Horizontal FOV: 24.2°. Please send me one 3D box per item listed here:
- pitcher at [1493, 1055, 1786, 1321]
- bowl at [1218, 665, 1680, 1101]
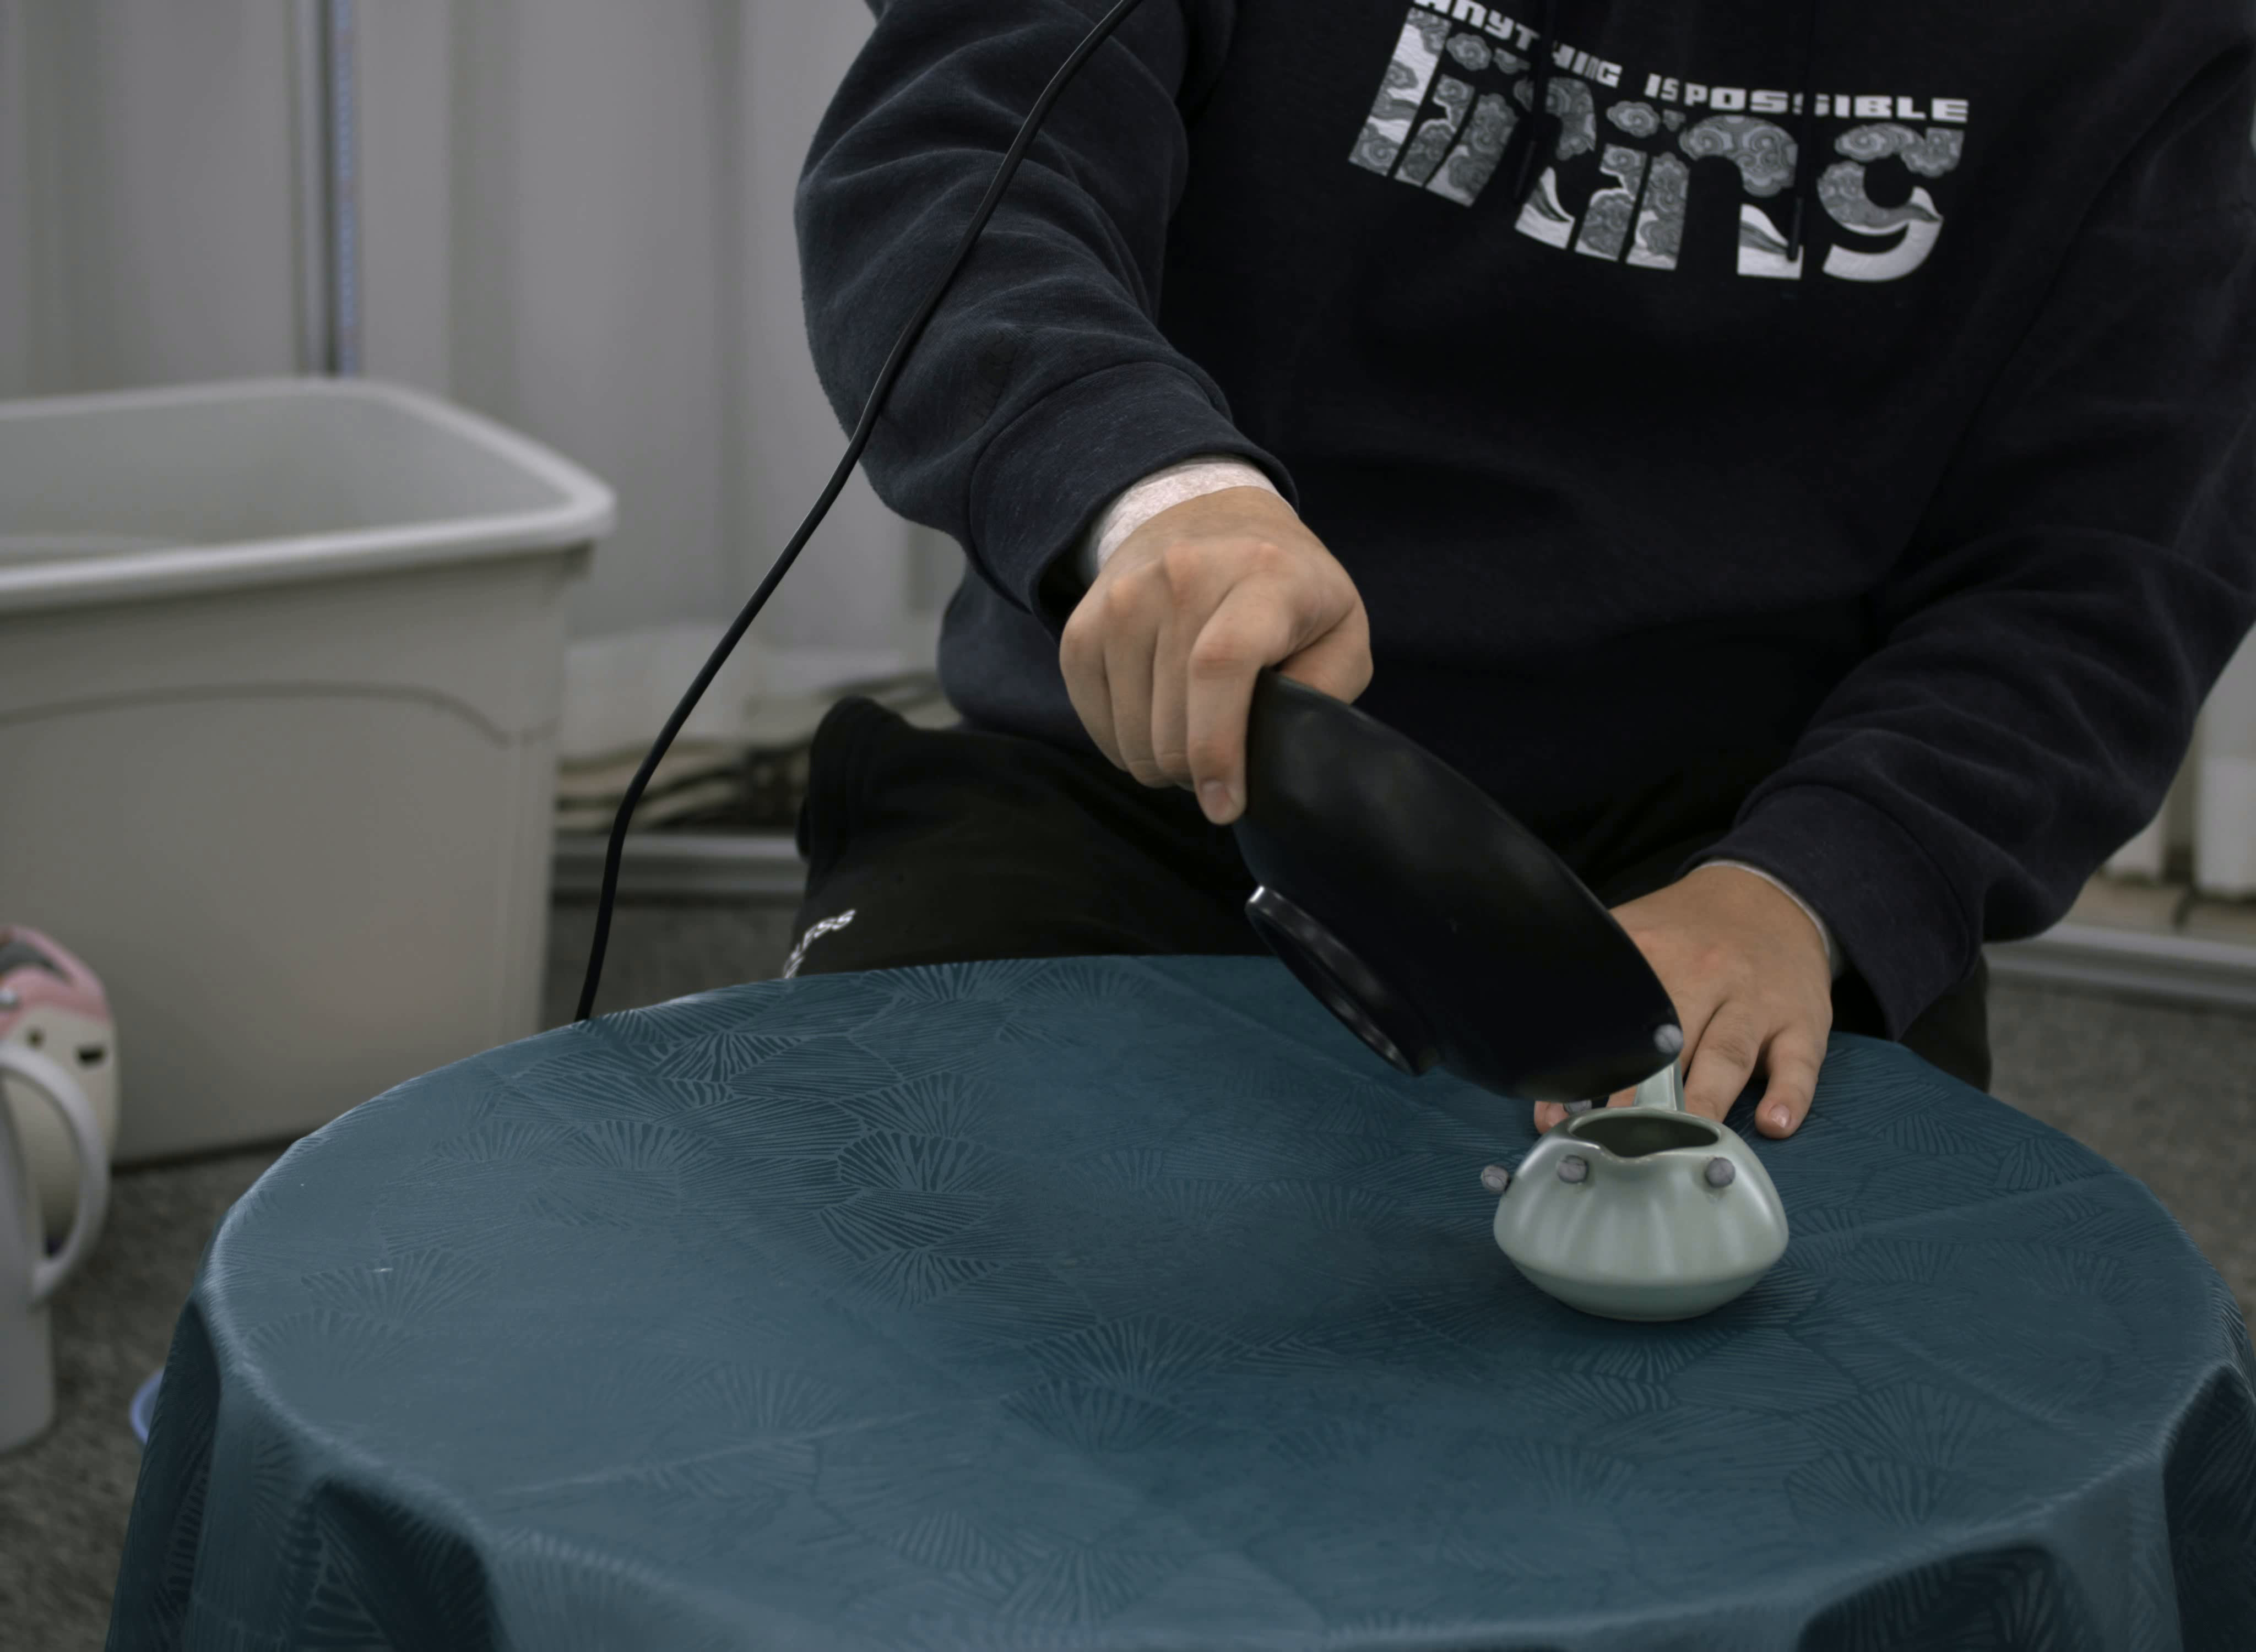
[{"bbox_3d":[0.152,0.107,1.549,0.085,0.061,0.108,4,15,9],"label":"pitcher"},{"bbox_3d":[0.080,0.026,1.491,0.066,0.172,0.136,-46,20,-6],"label":"bowl"}]
